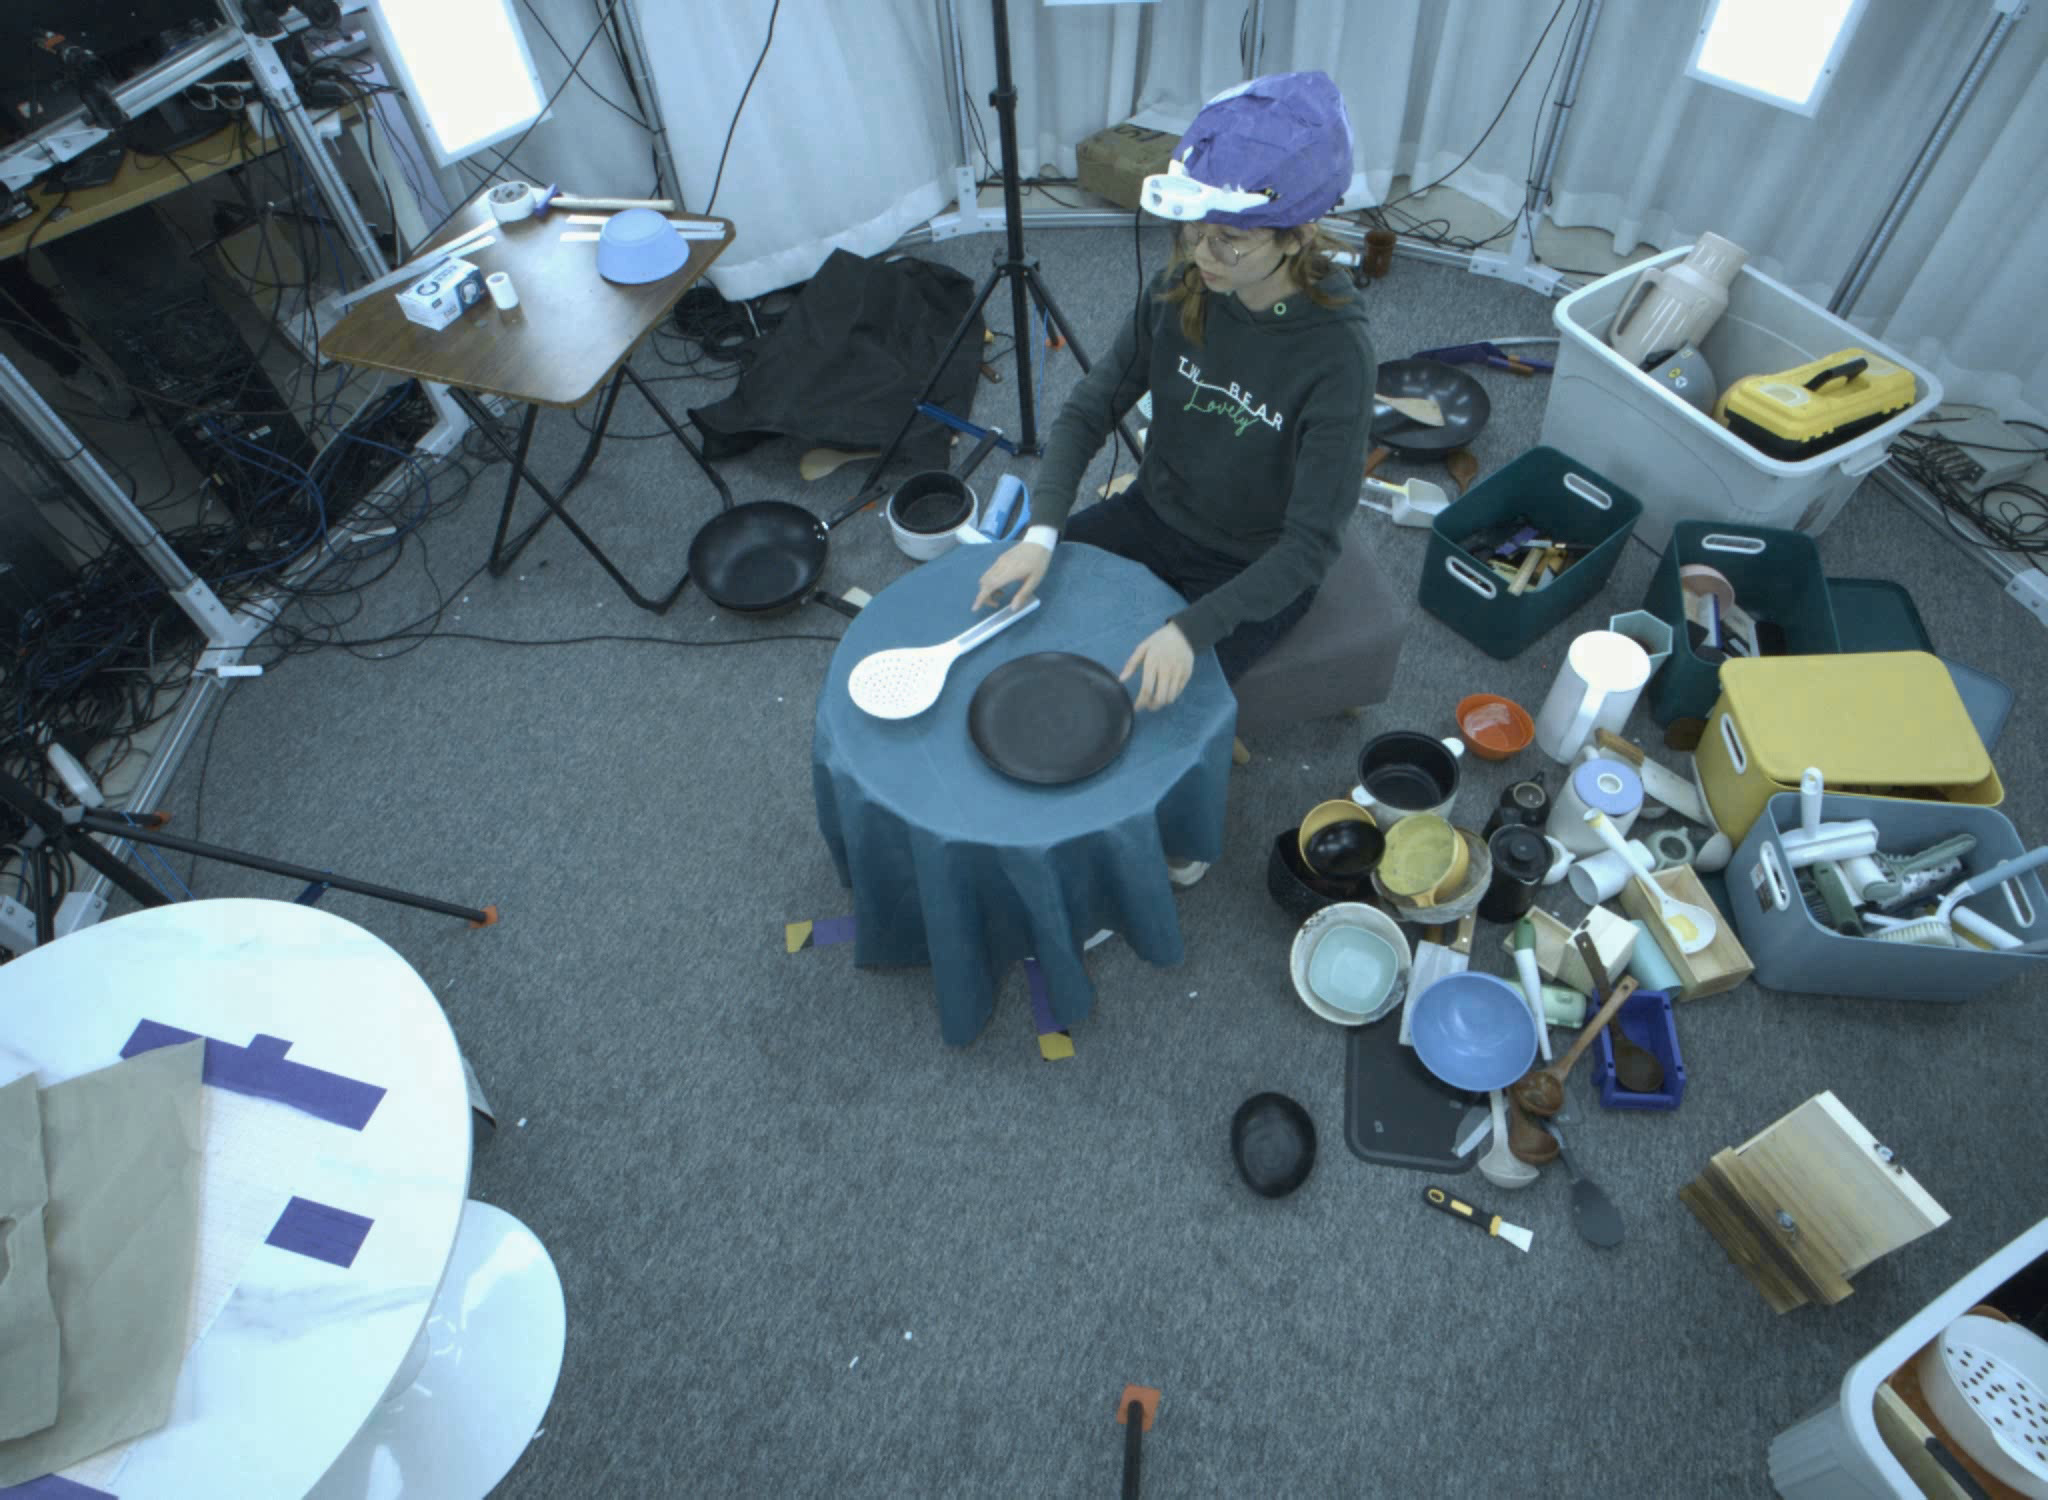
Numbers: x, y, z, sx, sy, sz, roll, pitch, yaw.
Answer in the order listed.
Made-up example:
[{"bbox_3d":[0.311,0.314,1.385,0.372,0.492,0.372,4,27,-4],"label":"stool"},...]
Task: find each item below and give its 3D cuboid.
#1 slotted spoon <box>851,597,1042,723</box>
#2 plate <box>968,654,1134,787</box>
[{"bbox_3d":[-0.109,-0.146,1.876,0.352,0.046,0.134,-37,64,-23],"label":"slotted spoon"},{"bbox_3d":[0.040,-0.042,1.812,0.244,0.023,0.242,0,55,1],"label":"plate"}]
